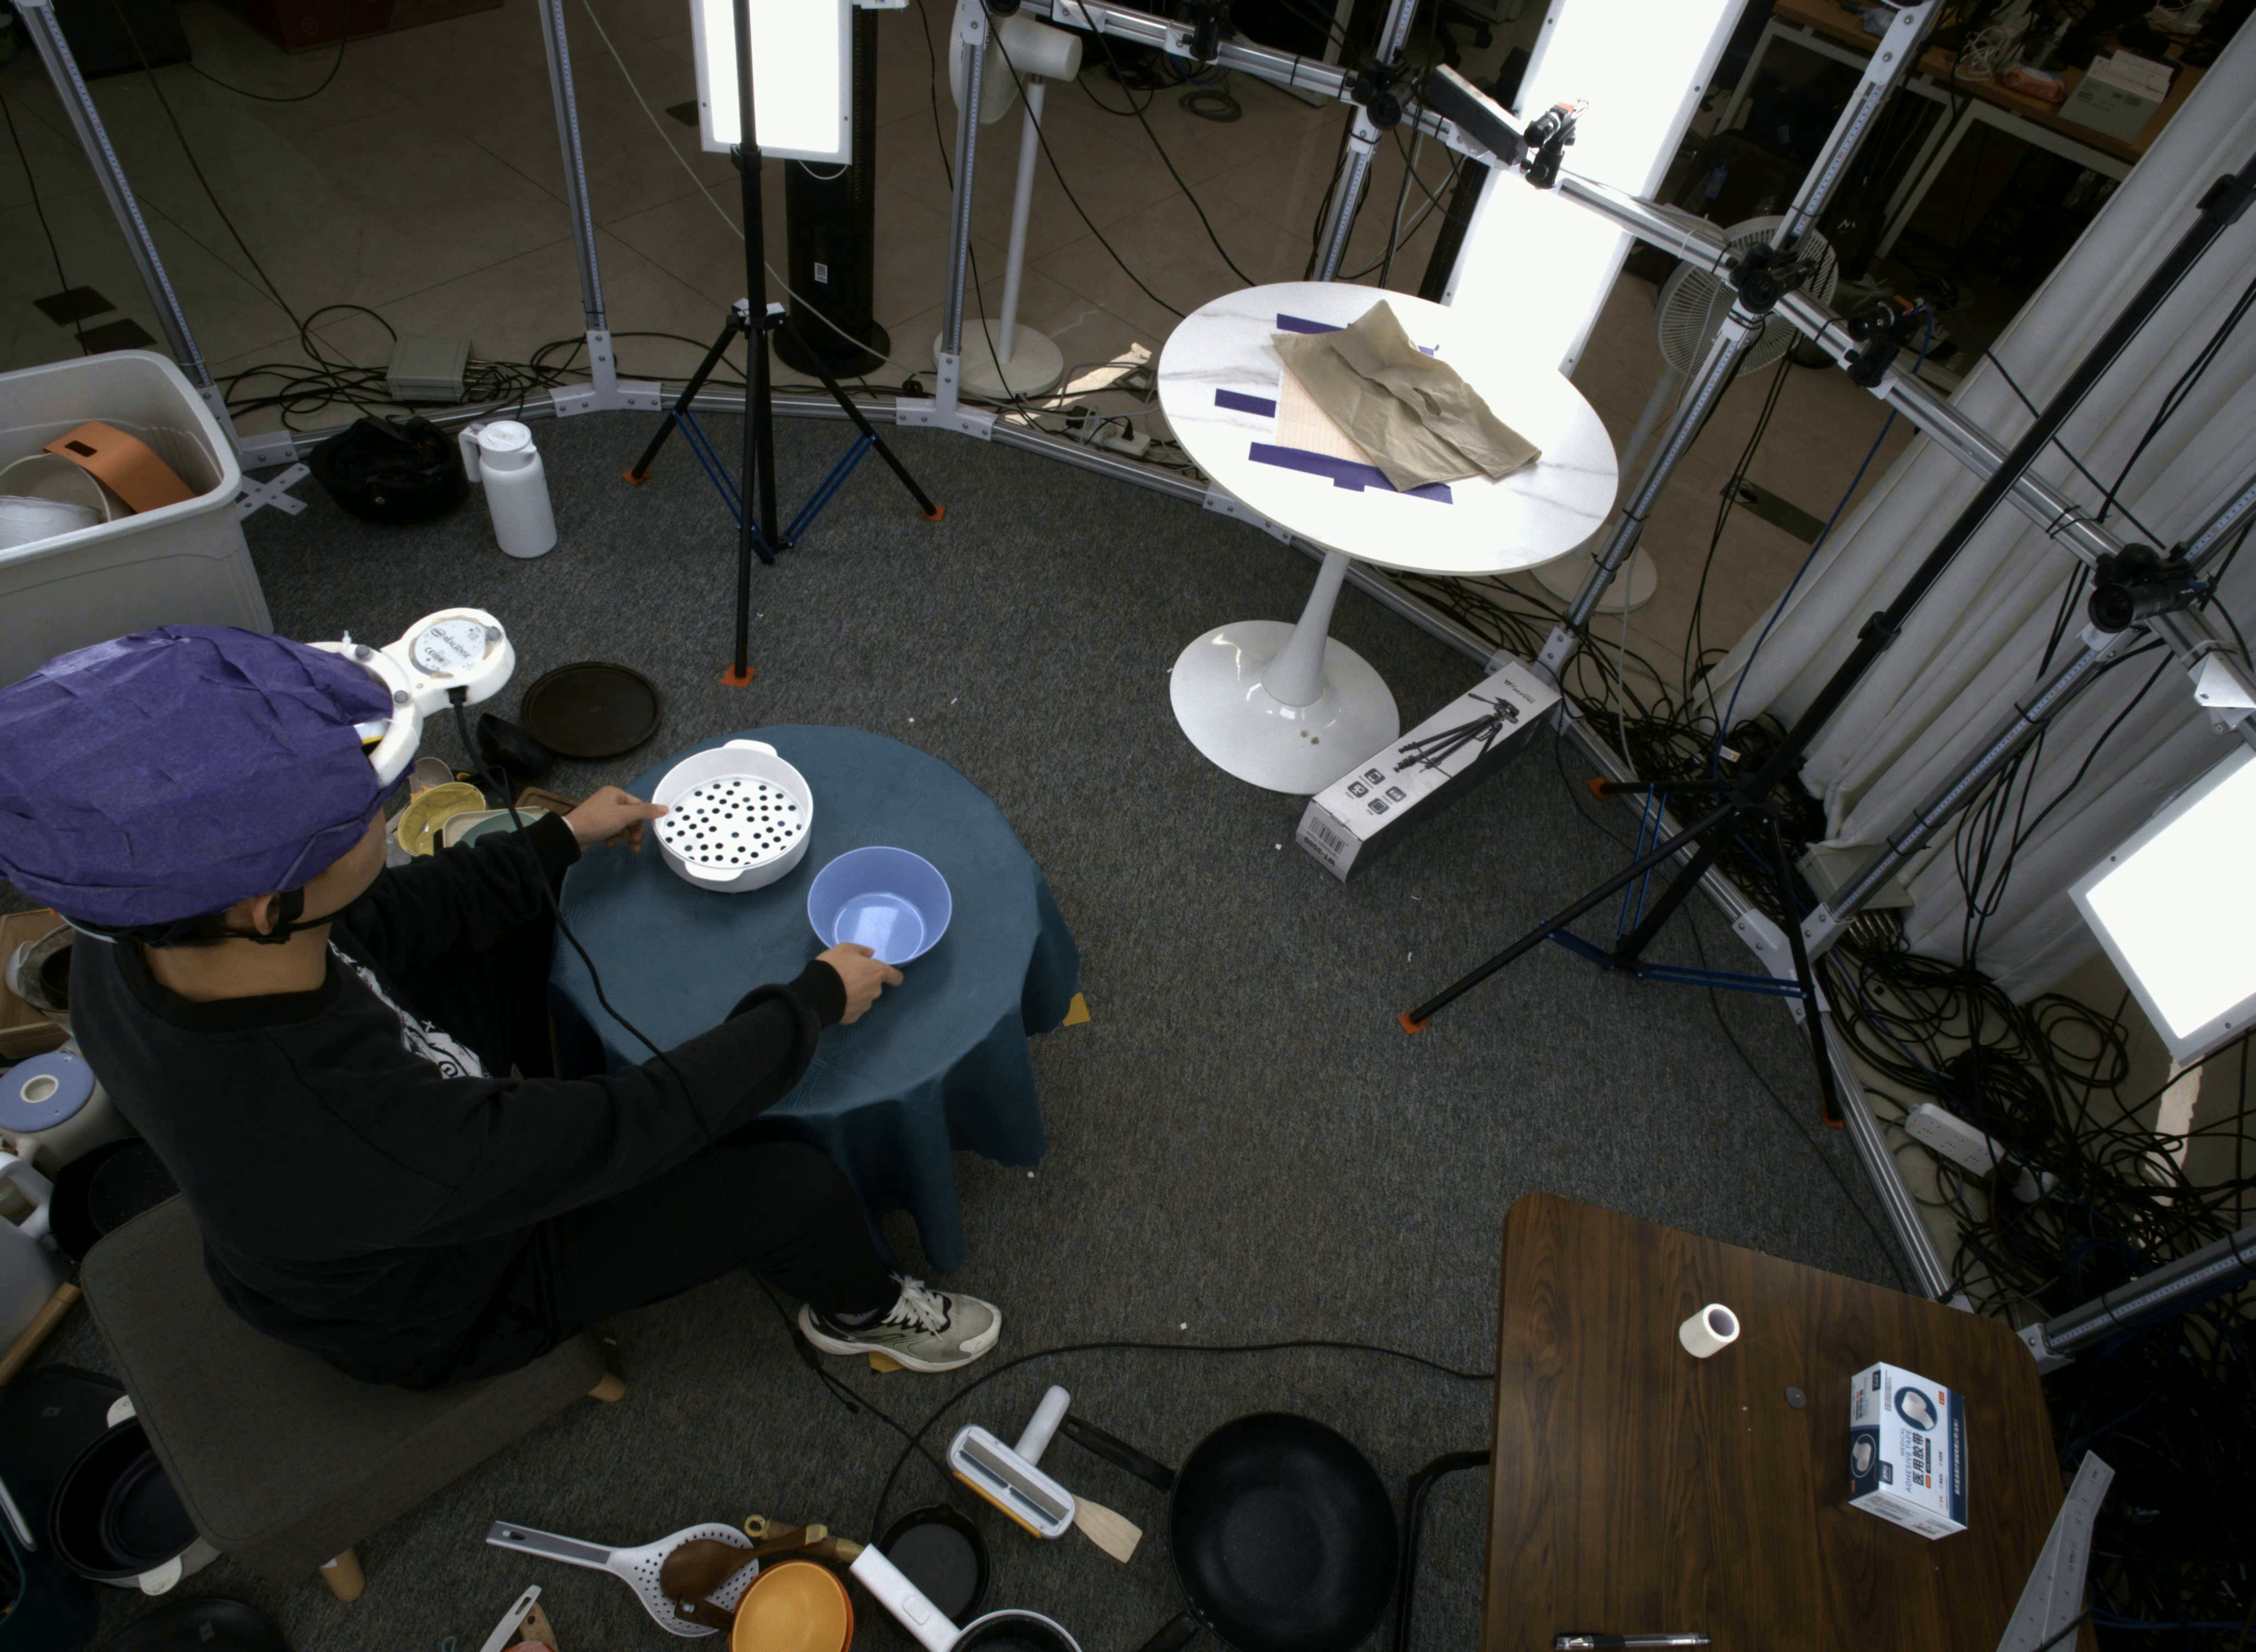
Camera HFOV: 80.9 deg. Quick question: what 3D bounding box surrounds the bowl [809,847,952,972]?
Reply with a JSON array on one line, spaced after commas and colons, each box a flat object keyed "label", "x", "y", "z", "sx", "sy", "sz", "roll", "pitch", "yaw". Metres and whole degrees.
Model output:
[{"label": "bowl", "x": -0.309, "y": 0.114, "z": 1.628, "sx": 0.175, "sy": 0.072, "sz": 0.173, "roll": 7, "pitch": 52, "yaw": -8}]

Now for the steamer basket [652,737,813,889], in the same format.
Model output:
[{"label": "steamer basket", "x": -0.510, "y": -0.013, "z": 1.671, "sx": 0.201, "sy": 0.071, "sz": 0.226, "roll": 9, "pitch": 50, "yaw": -8}]
